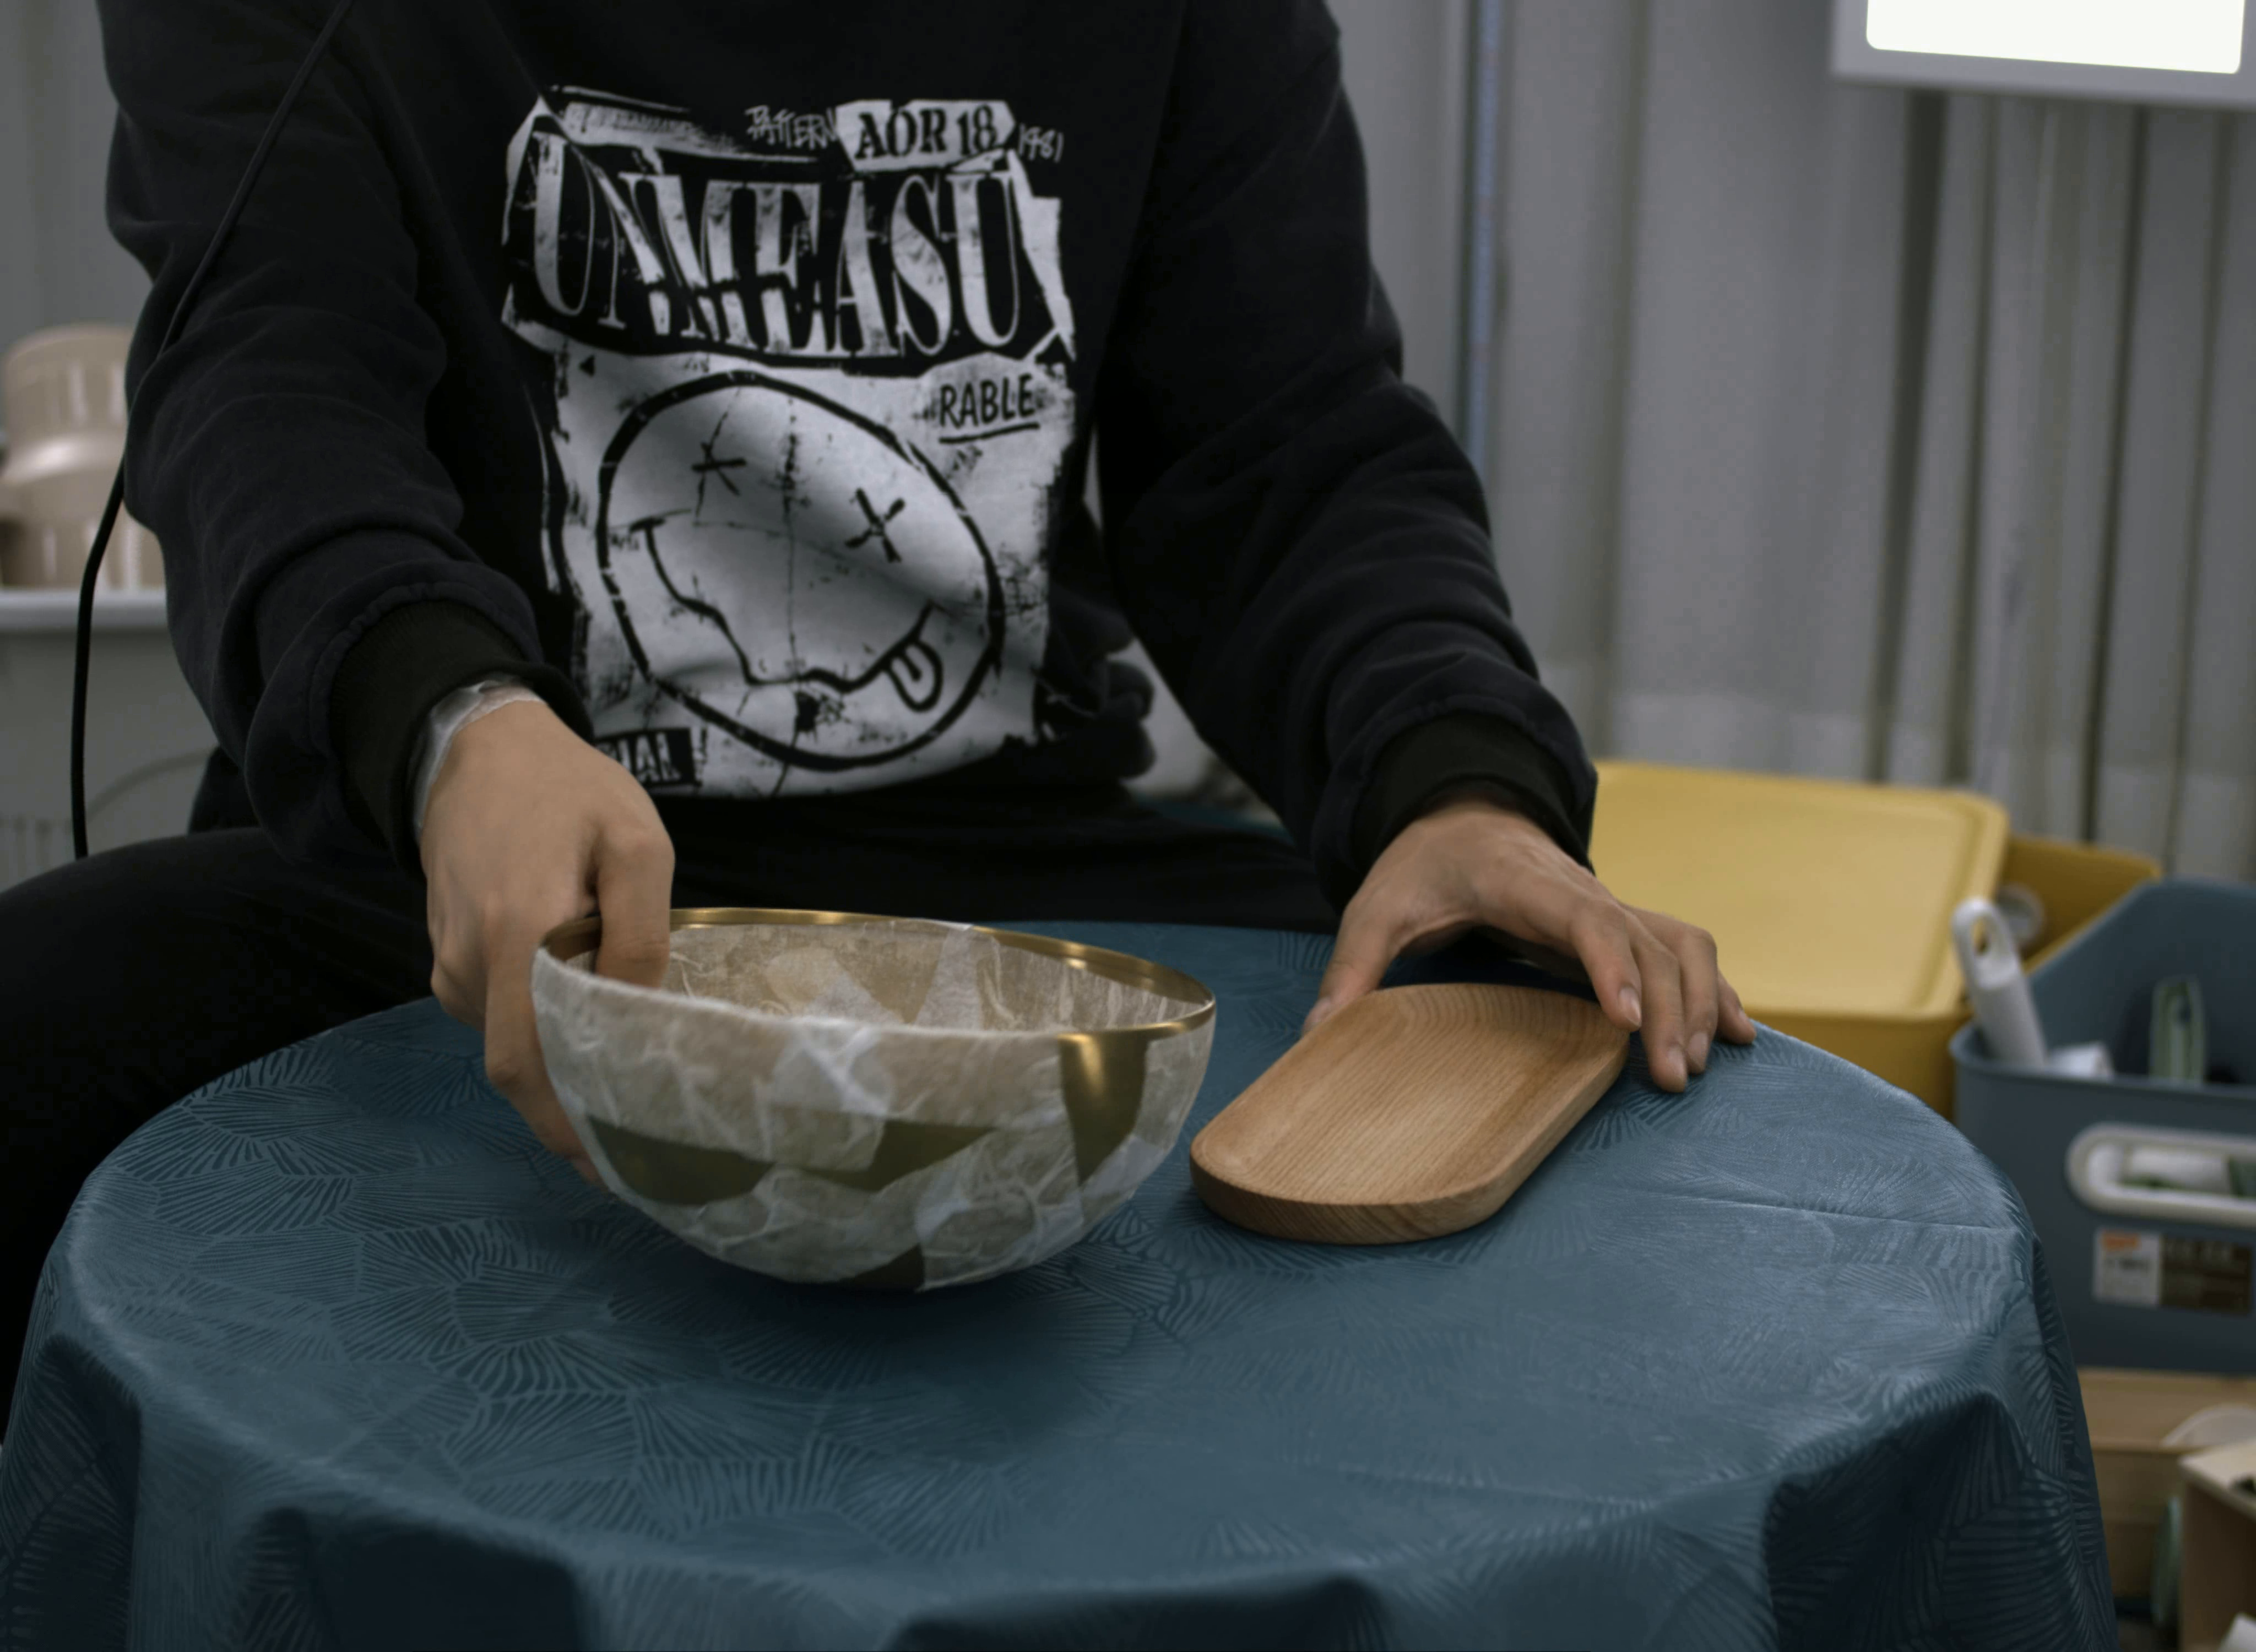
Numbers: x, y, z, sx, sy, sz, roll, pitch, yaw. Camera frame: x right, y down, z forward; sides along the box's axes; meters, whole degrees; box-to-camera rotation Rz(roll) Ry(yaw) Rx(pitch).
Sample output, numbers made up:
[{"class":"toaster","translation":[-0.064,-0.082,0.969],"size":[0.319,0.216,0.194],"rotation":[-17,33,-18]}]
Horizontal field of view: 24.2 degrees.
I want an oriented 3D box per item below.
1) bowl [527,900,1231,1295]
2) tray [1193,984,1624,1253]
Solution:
[{"class":"bowl","translation":[-0.073,0.085,1.541],"size":[0.214,0.095,0.214],"rotation":[4,9,0]},{"class":"tray","translation":[0.092,0.091,1.679],"size":[0.101,0.020,0.231],"rotation":[4,18,18]}]
